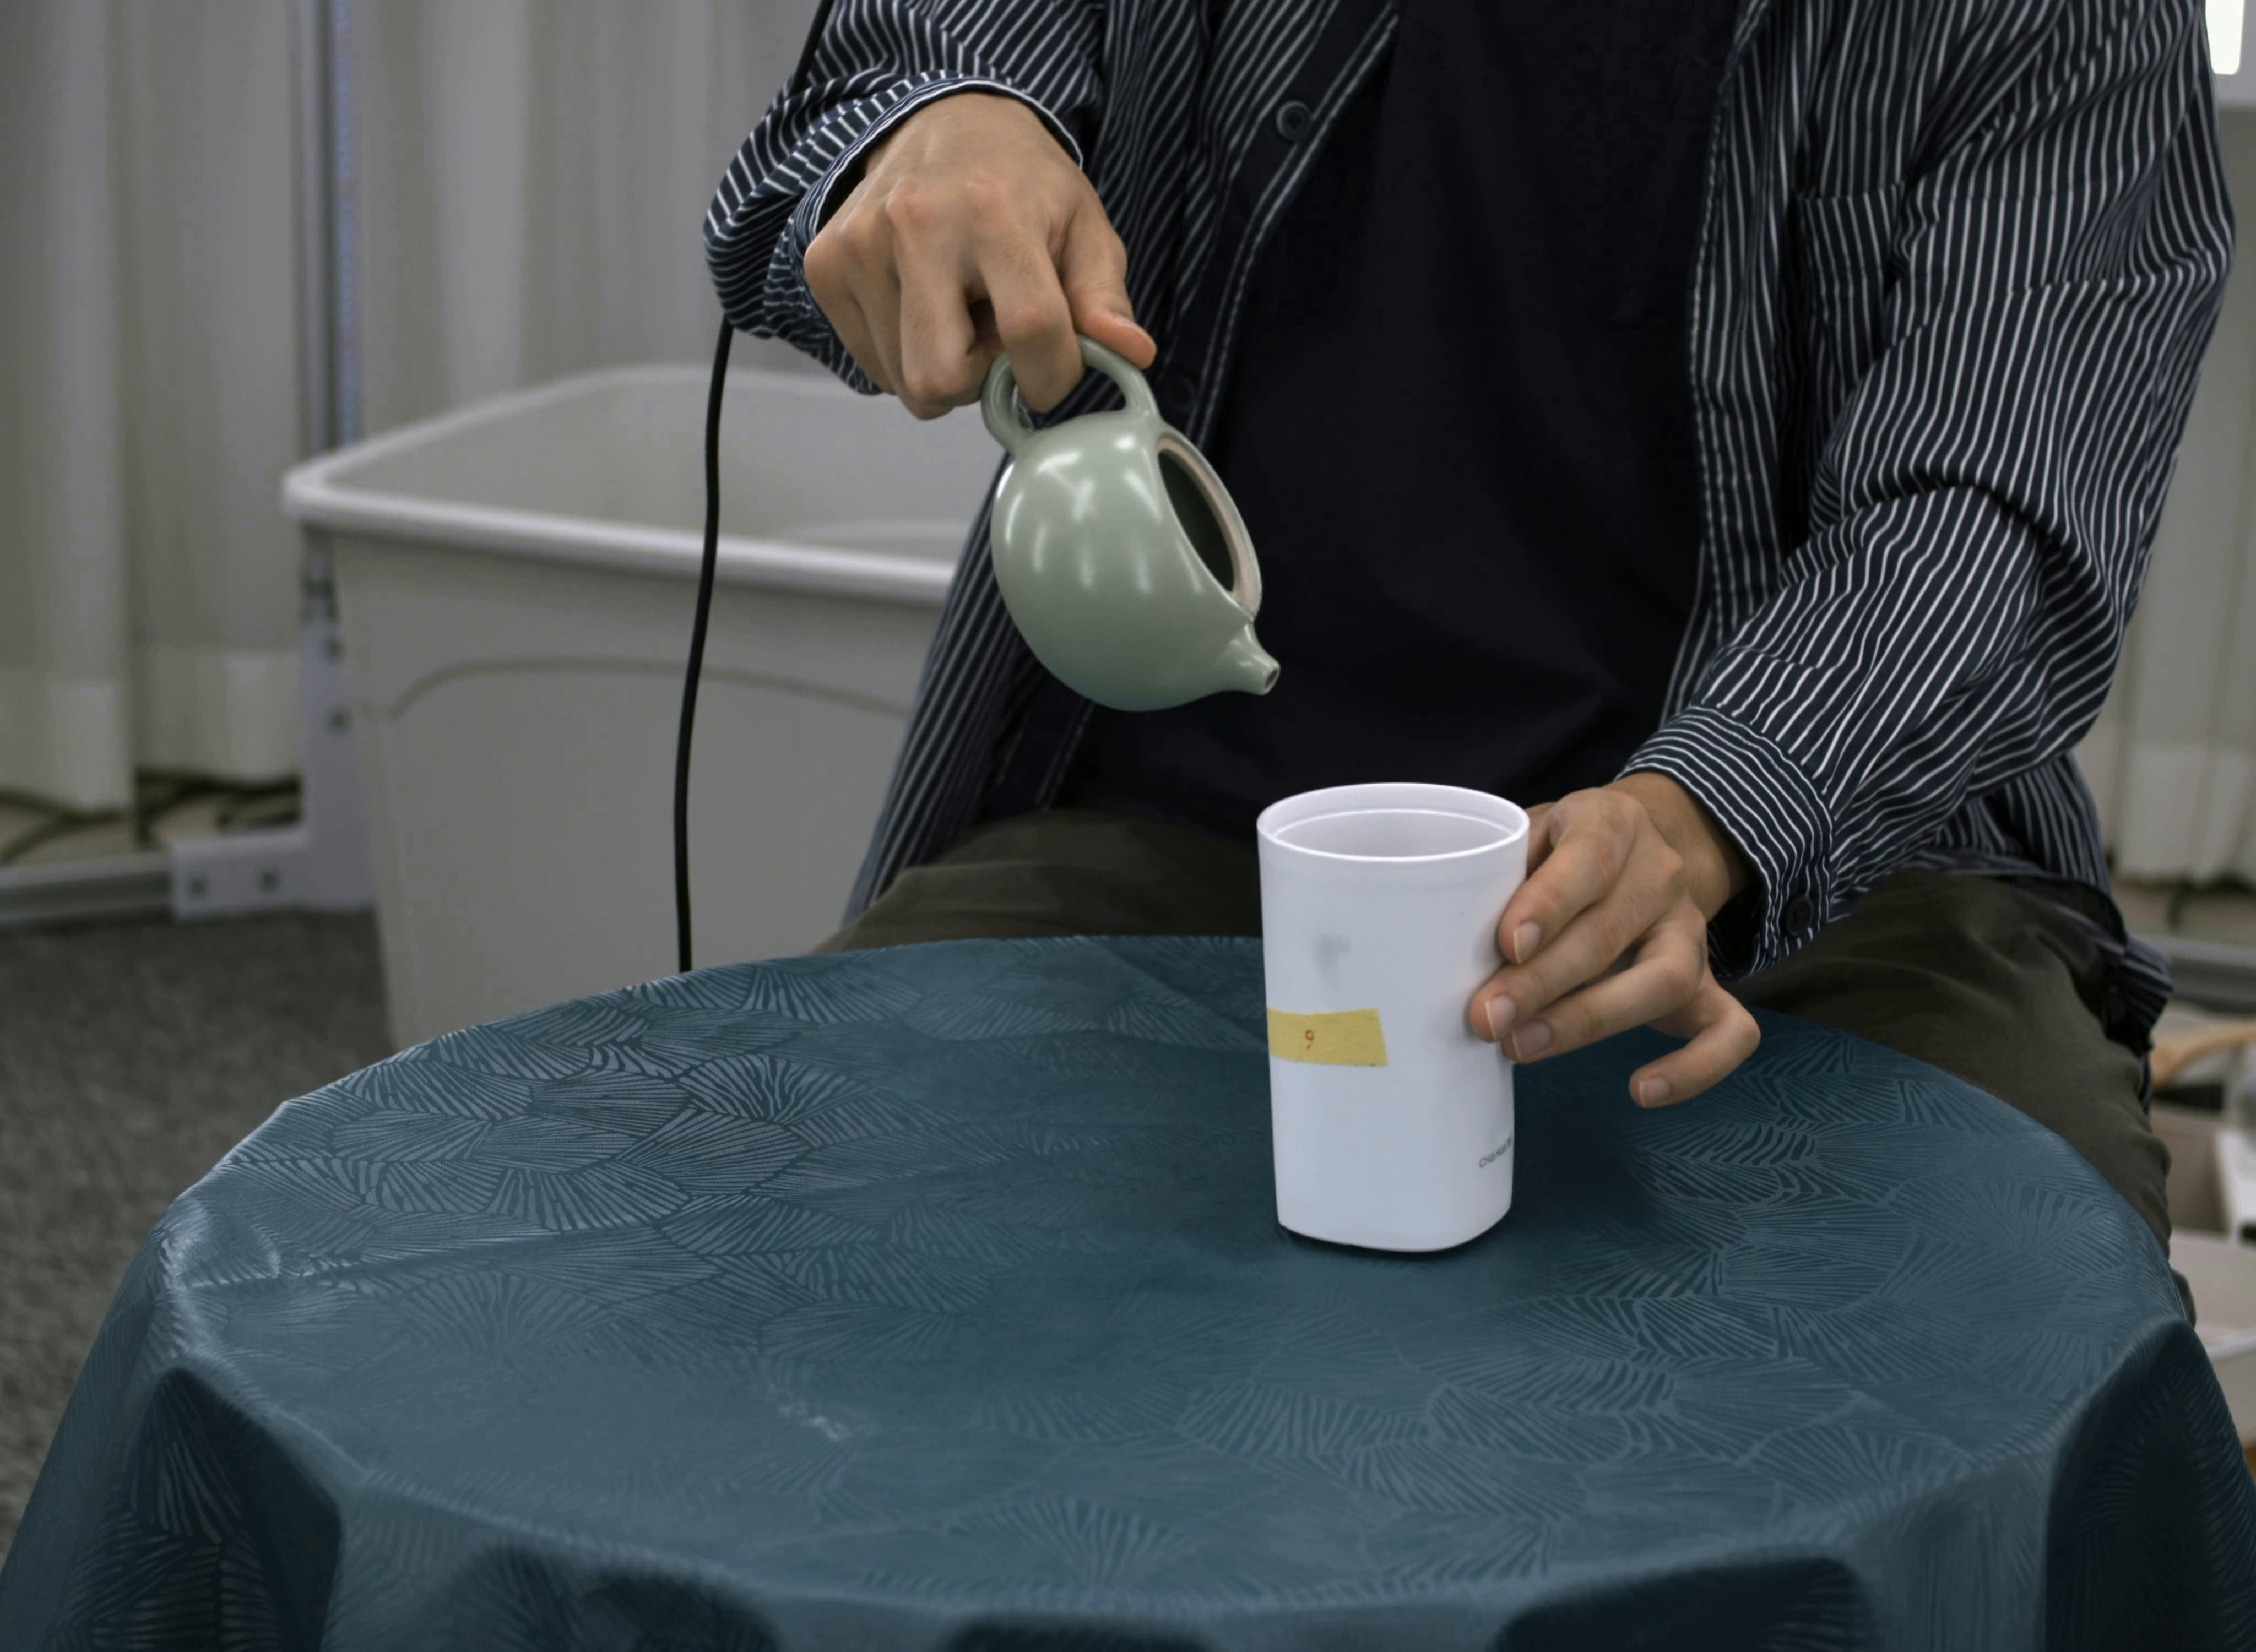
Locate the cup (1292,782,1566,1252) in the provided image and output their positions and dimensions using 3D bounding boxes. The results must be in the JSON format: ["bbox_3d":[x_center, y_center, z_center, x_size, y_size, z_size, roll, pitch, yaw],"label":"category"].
[{"bbox_3d":[0.090,0.058,1.575,0.081,0.126,0.081,-1,16,1],"label":"cup"}]

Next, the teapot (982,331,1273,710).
[{"bbox_3d":[-0.006,-0.087,1.559,0.060,0.128,0.092,-28,-12,21],"label":"teapot"}]
